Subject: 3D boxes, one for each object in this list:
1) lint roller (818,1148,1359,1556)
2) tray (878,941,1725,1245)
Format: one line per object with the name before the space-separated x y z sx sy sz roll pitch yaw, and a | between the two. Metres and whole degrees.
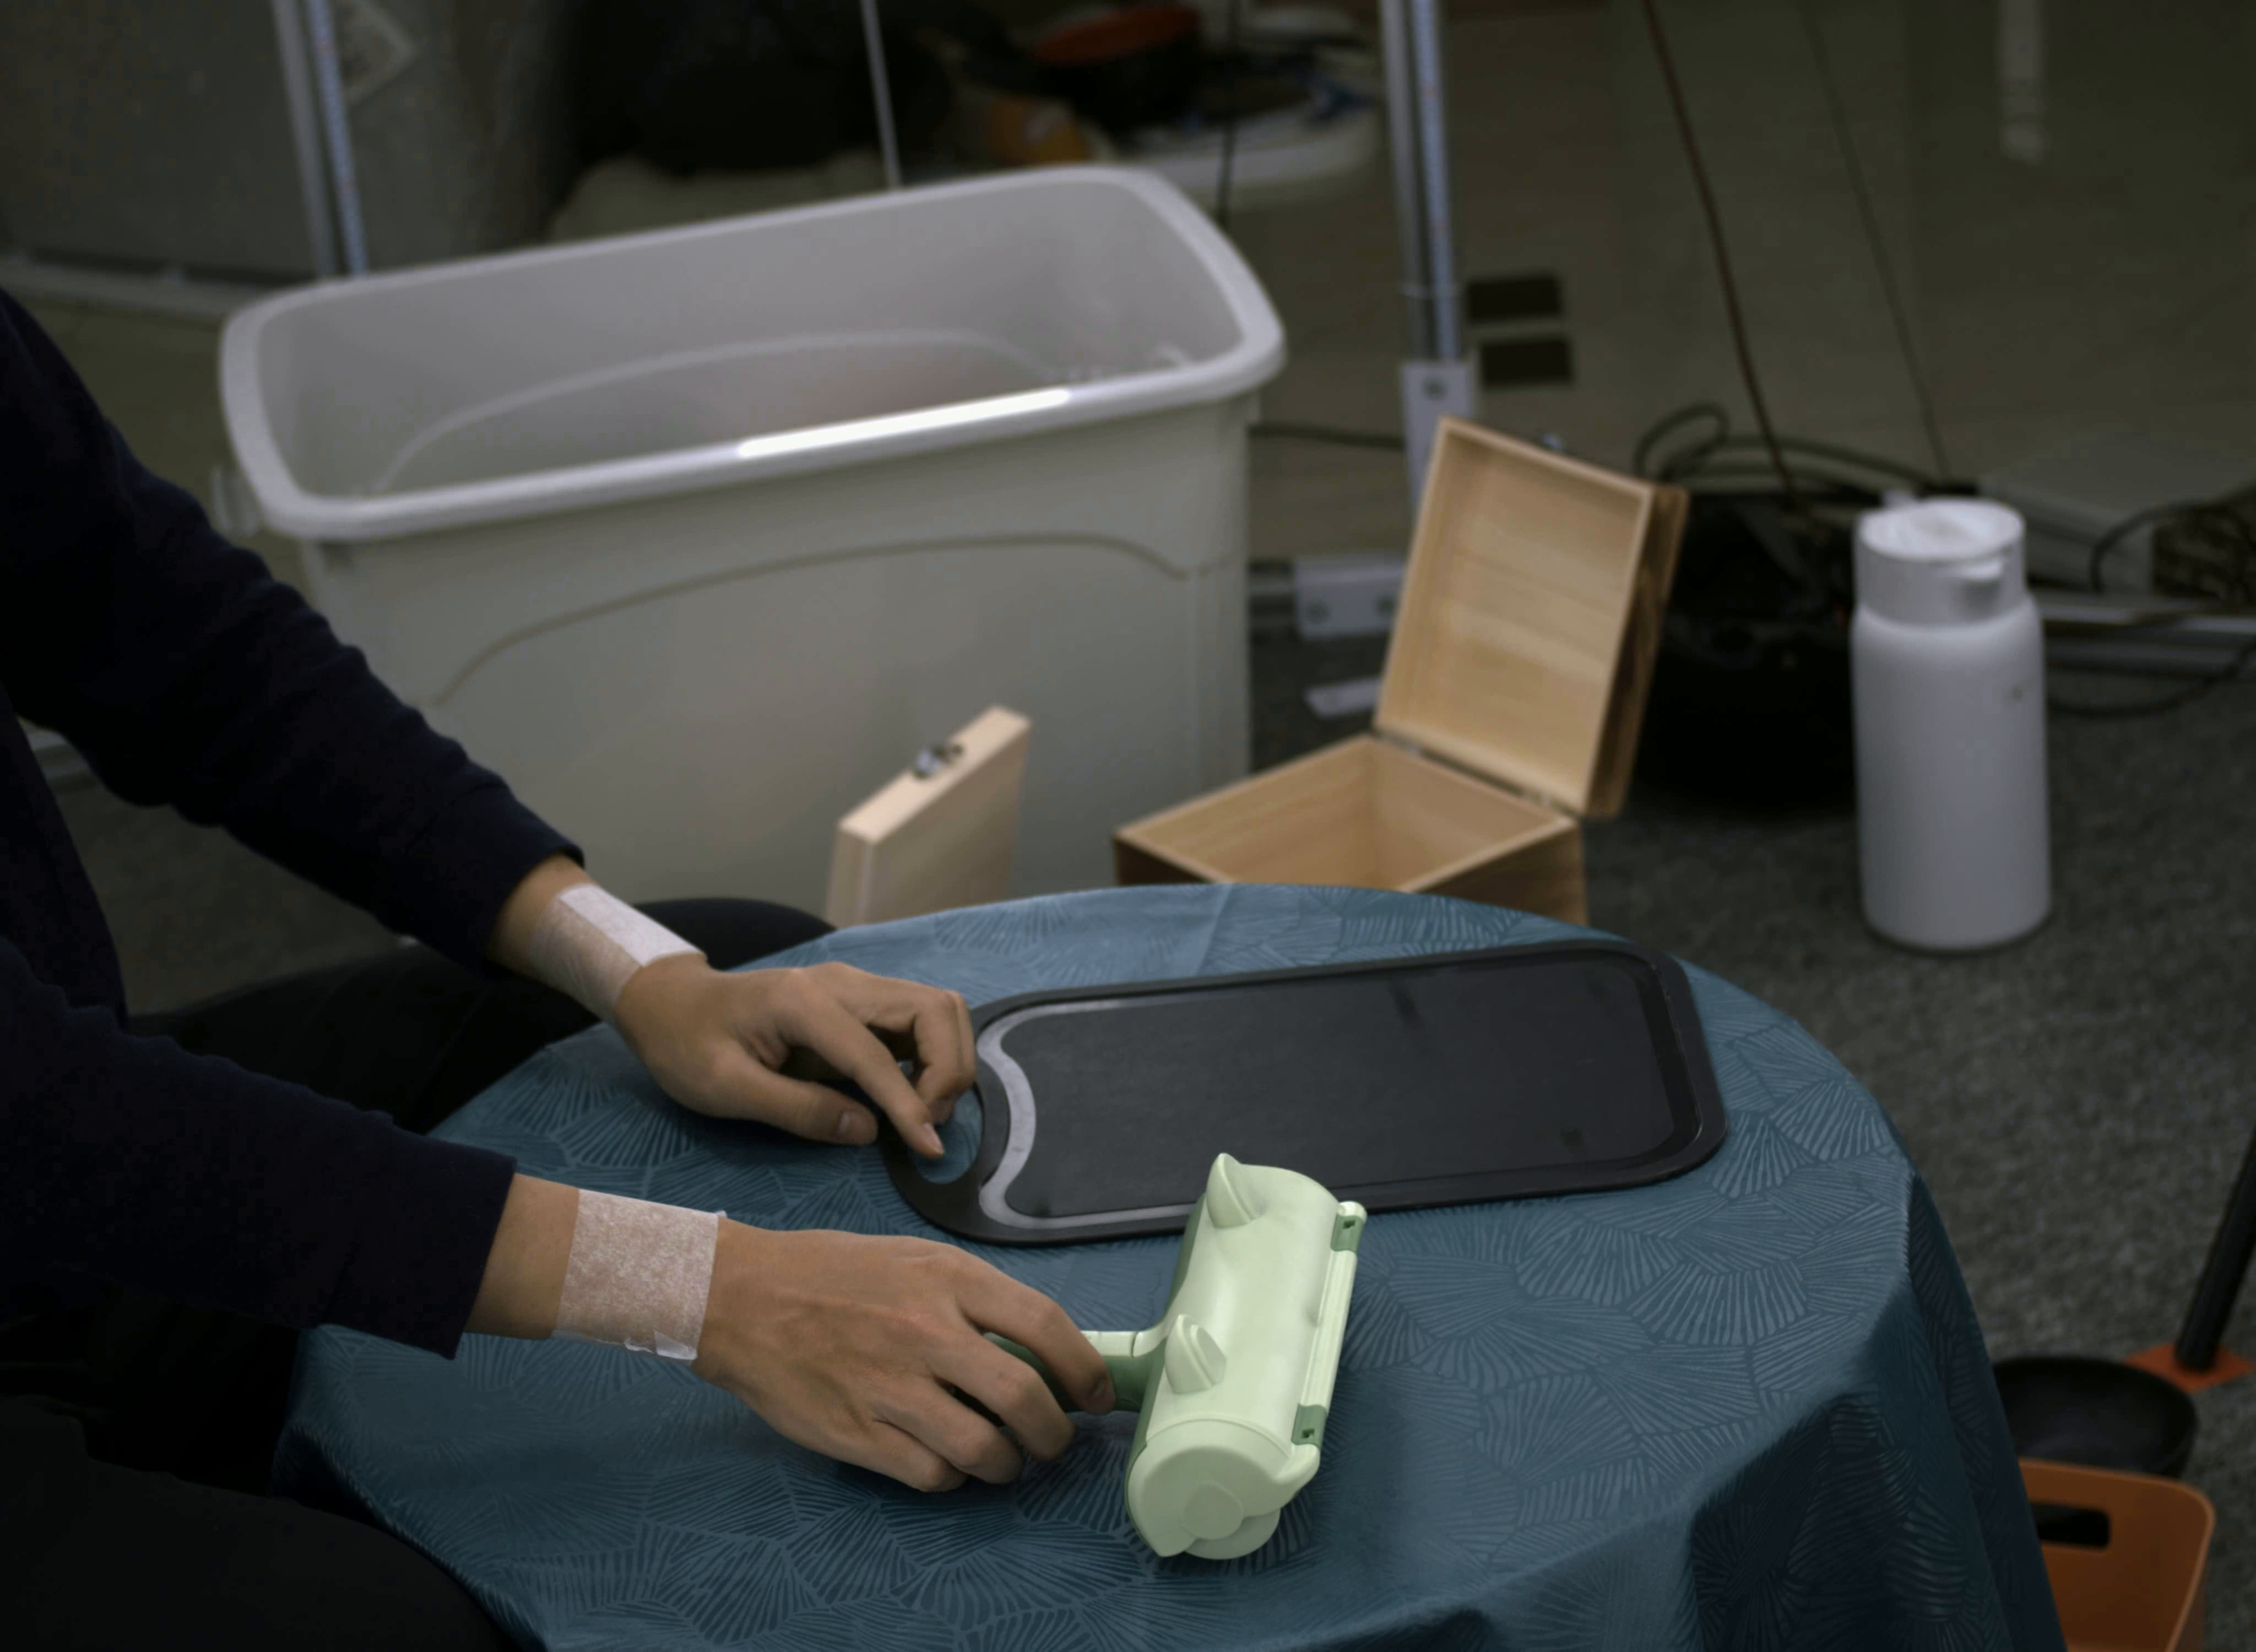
lint roller | -0.018 0.173 1.974 0.183 0.083 0.196 4 25 6
tray | 0.064 0.101 2.204 0.325 0.010 0.208 -6 25 1
